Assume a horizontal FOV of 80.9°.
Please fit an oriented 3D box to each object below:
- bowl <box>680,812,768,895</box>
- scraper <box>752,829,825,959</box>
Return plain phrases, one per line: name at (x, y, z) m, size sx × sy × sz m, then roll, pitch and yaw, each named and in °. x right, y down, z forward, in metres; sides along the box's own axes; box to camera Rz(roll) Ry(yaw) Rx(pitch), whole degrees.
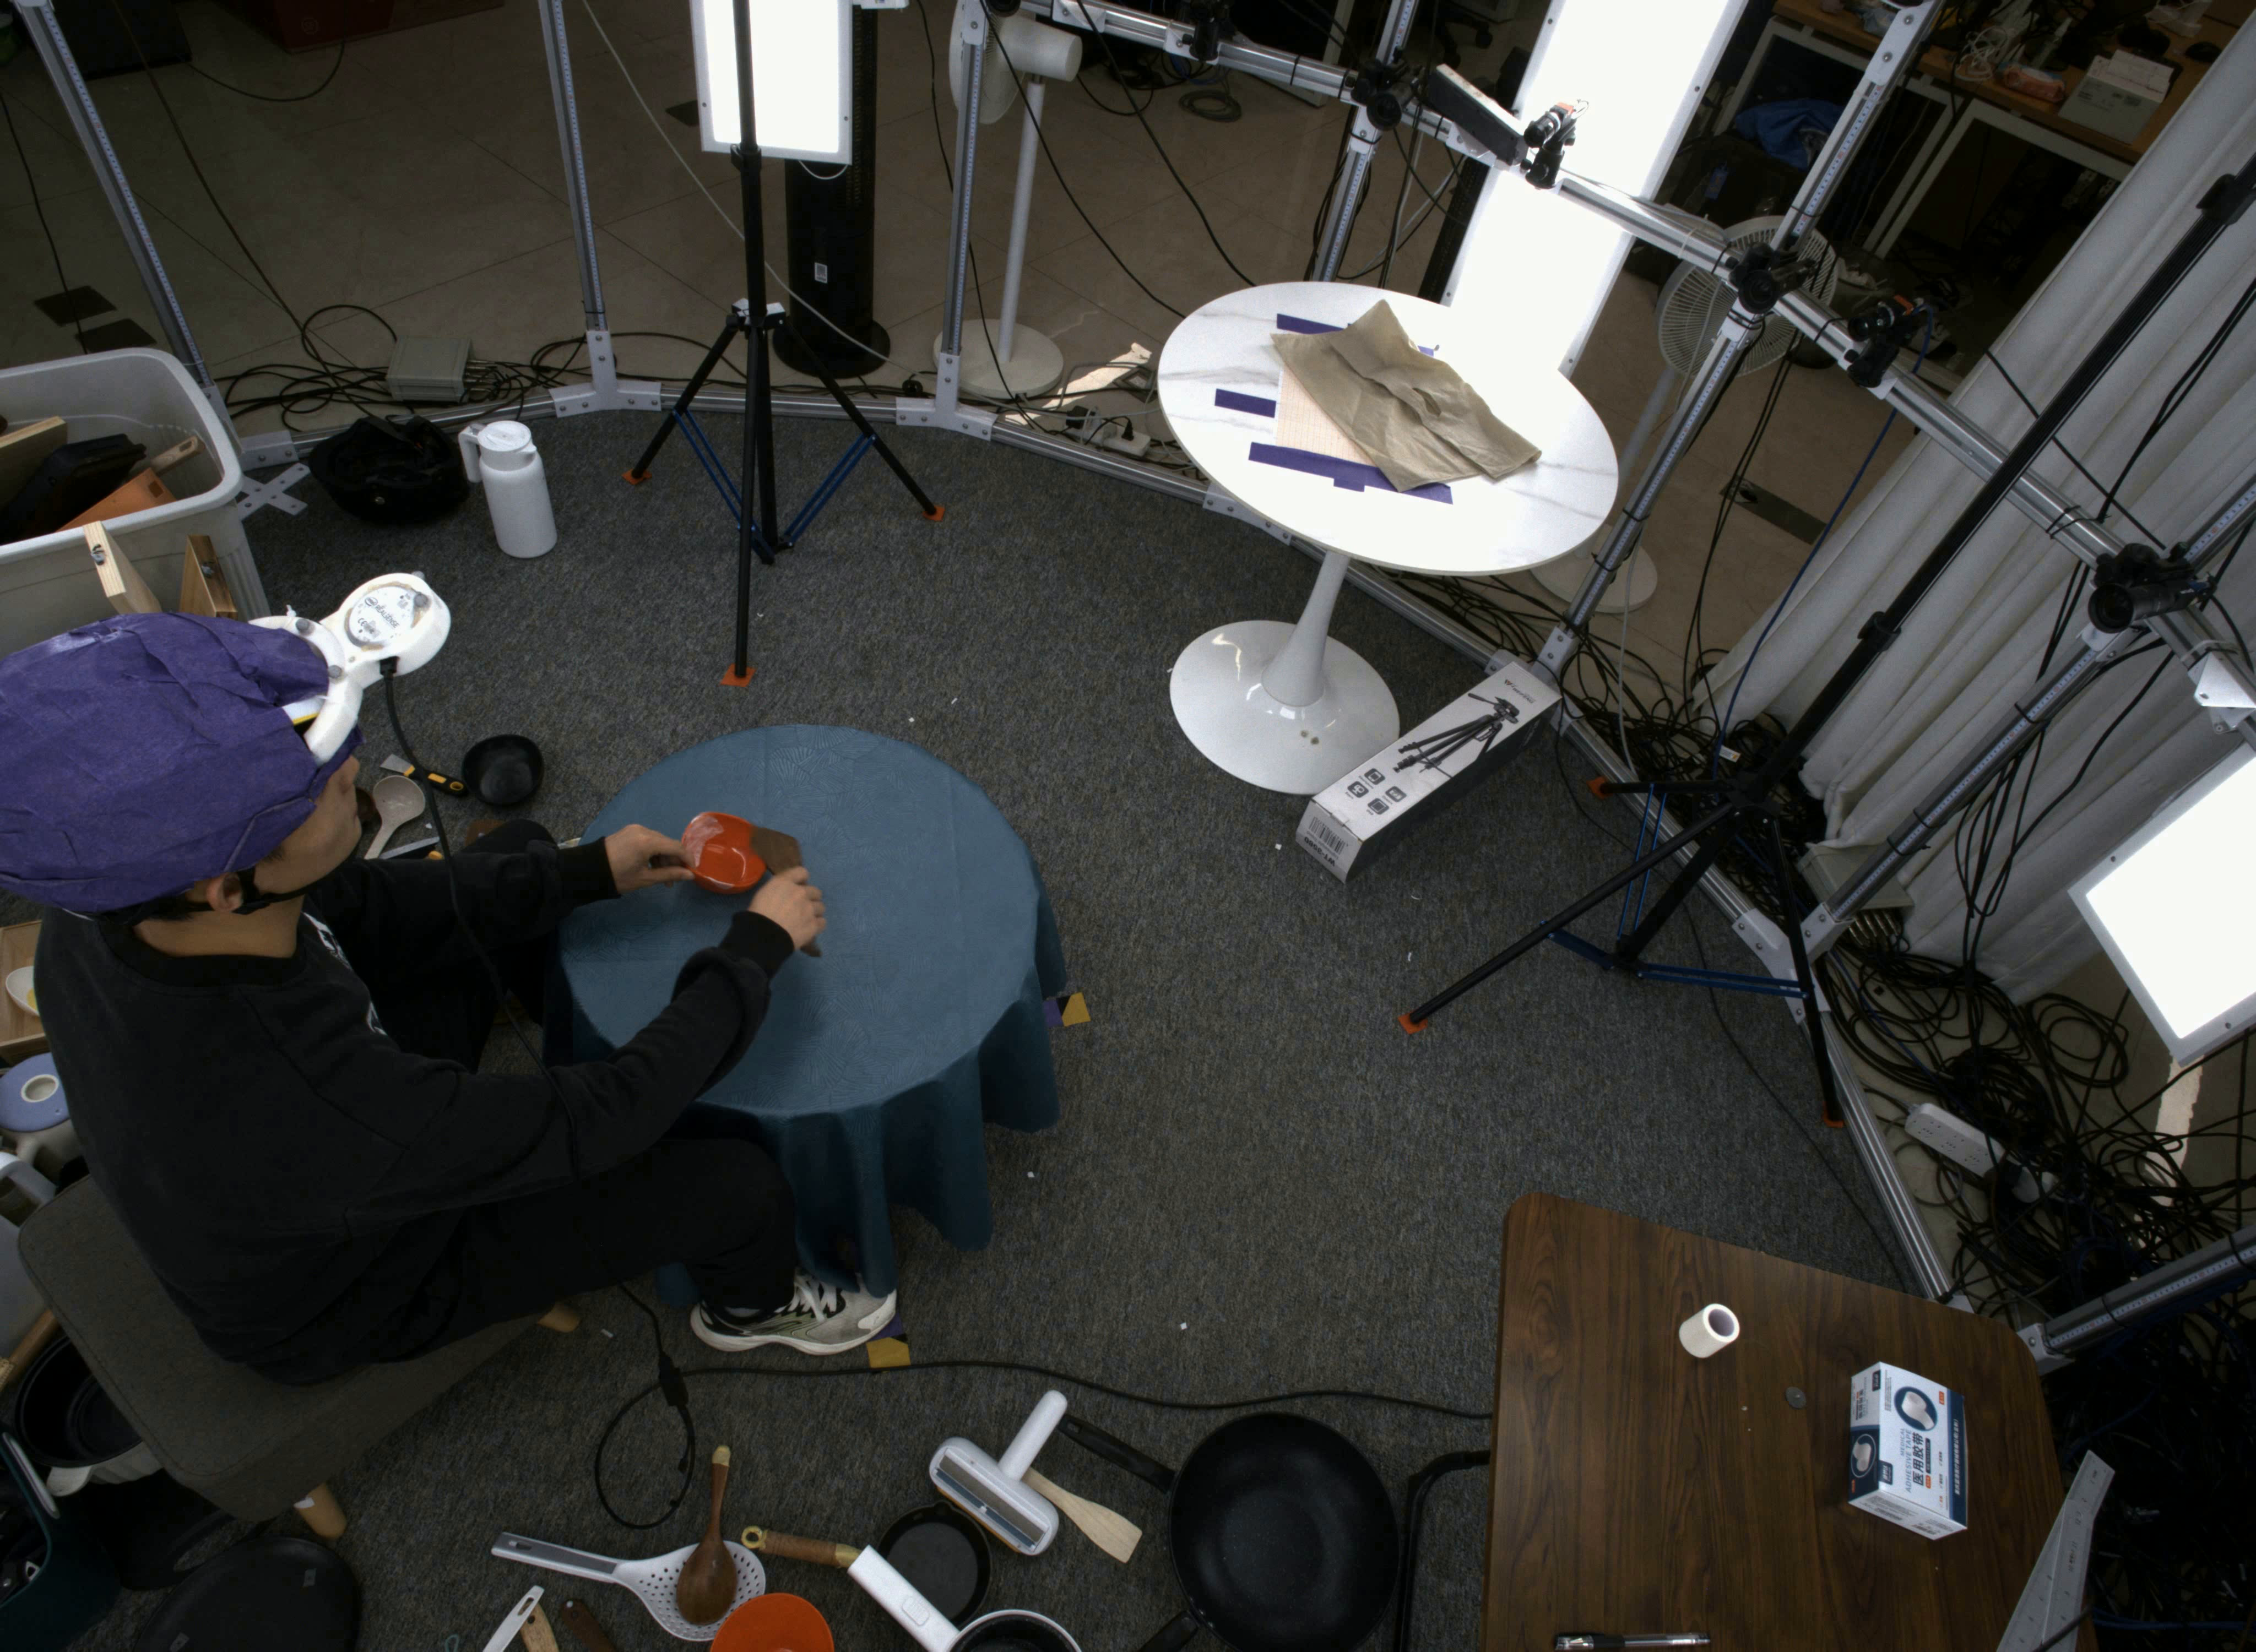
bowl at (-0.513, 0.042, 1.632) m, size 0.121 × 0.051 × 0.116 m, roll 21°, pitch 46°, yaw -20°
scraper at (-0.401, 0.080, 1.559) m, size 0.078 × 0.011 × 0.204 m, roll 18°, pitch 32°, yaw -44°
